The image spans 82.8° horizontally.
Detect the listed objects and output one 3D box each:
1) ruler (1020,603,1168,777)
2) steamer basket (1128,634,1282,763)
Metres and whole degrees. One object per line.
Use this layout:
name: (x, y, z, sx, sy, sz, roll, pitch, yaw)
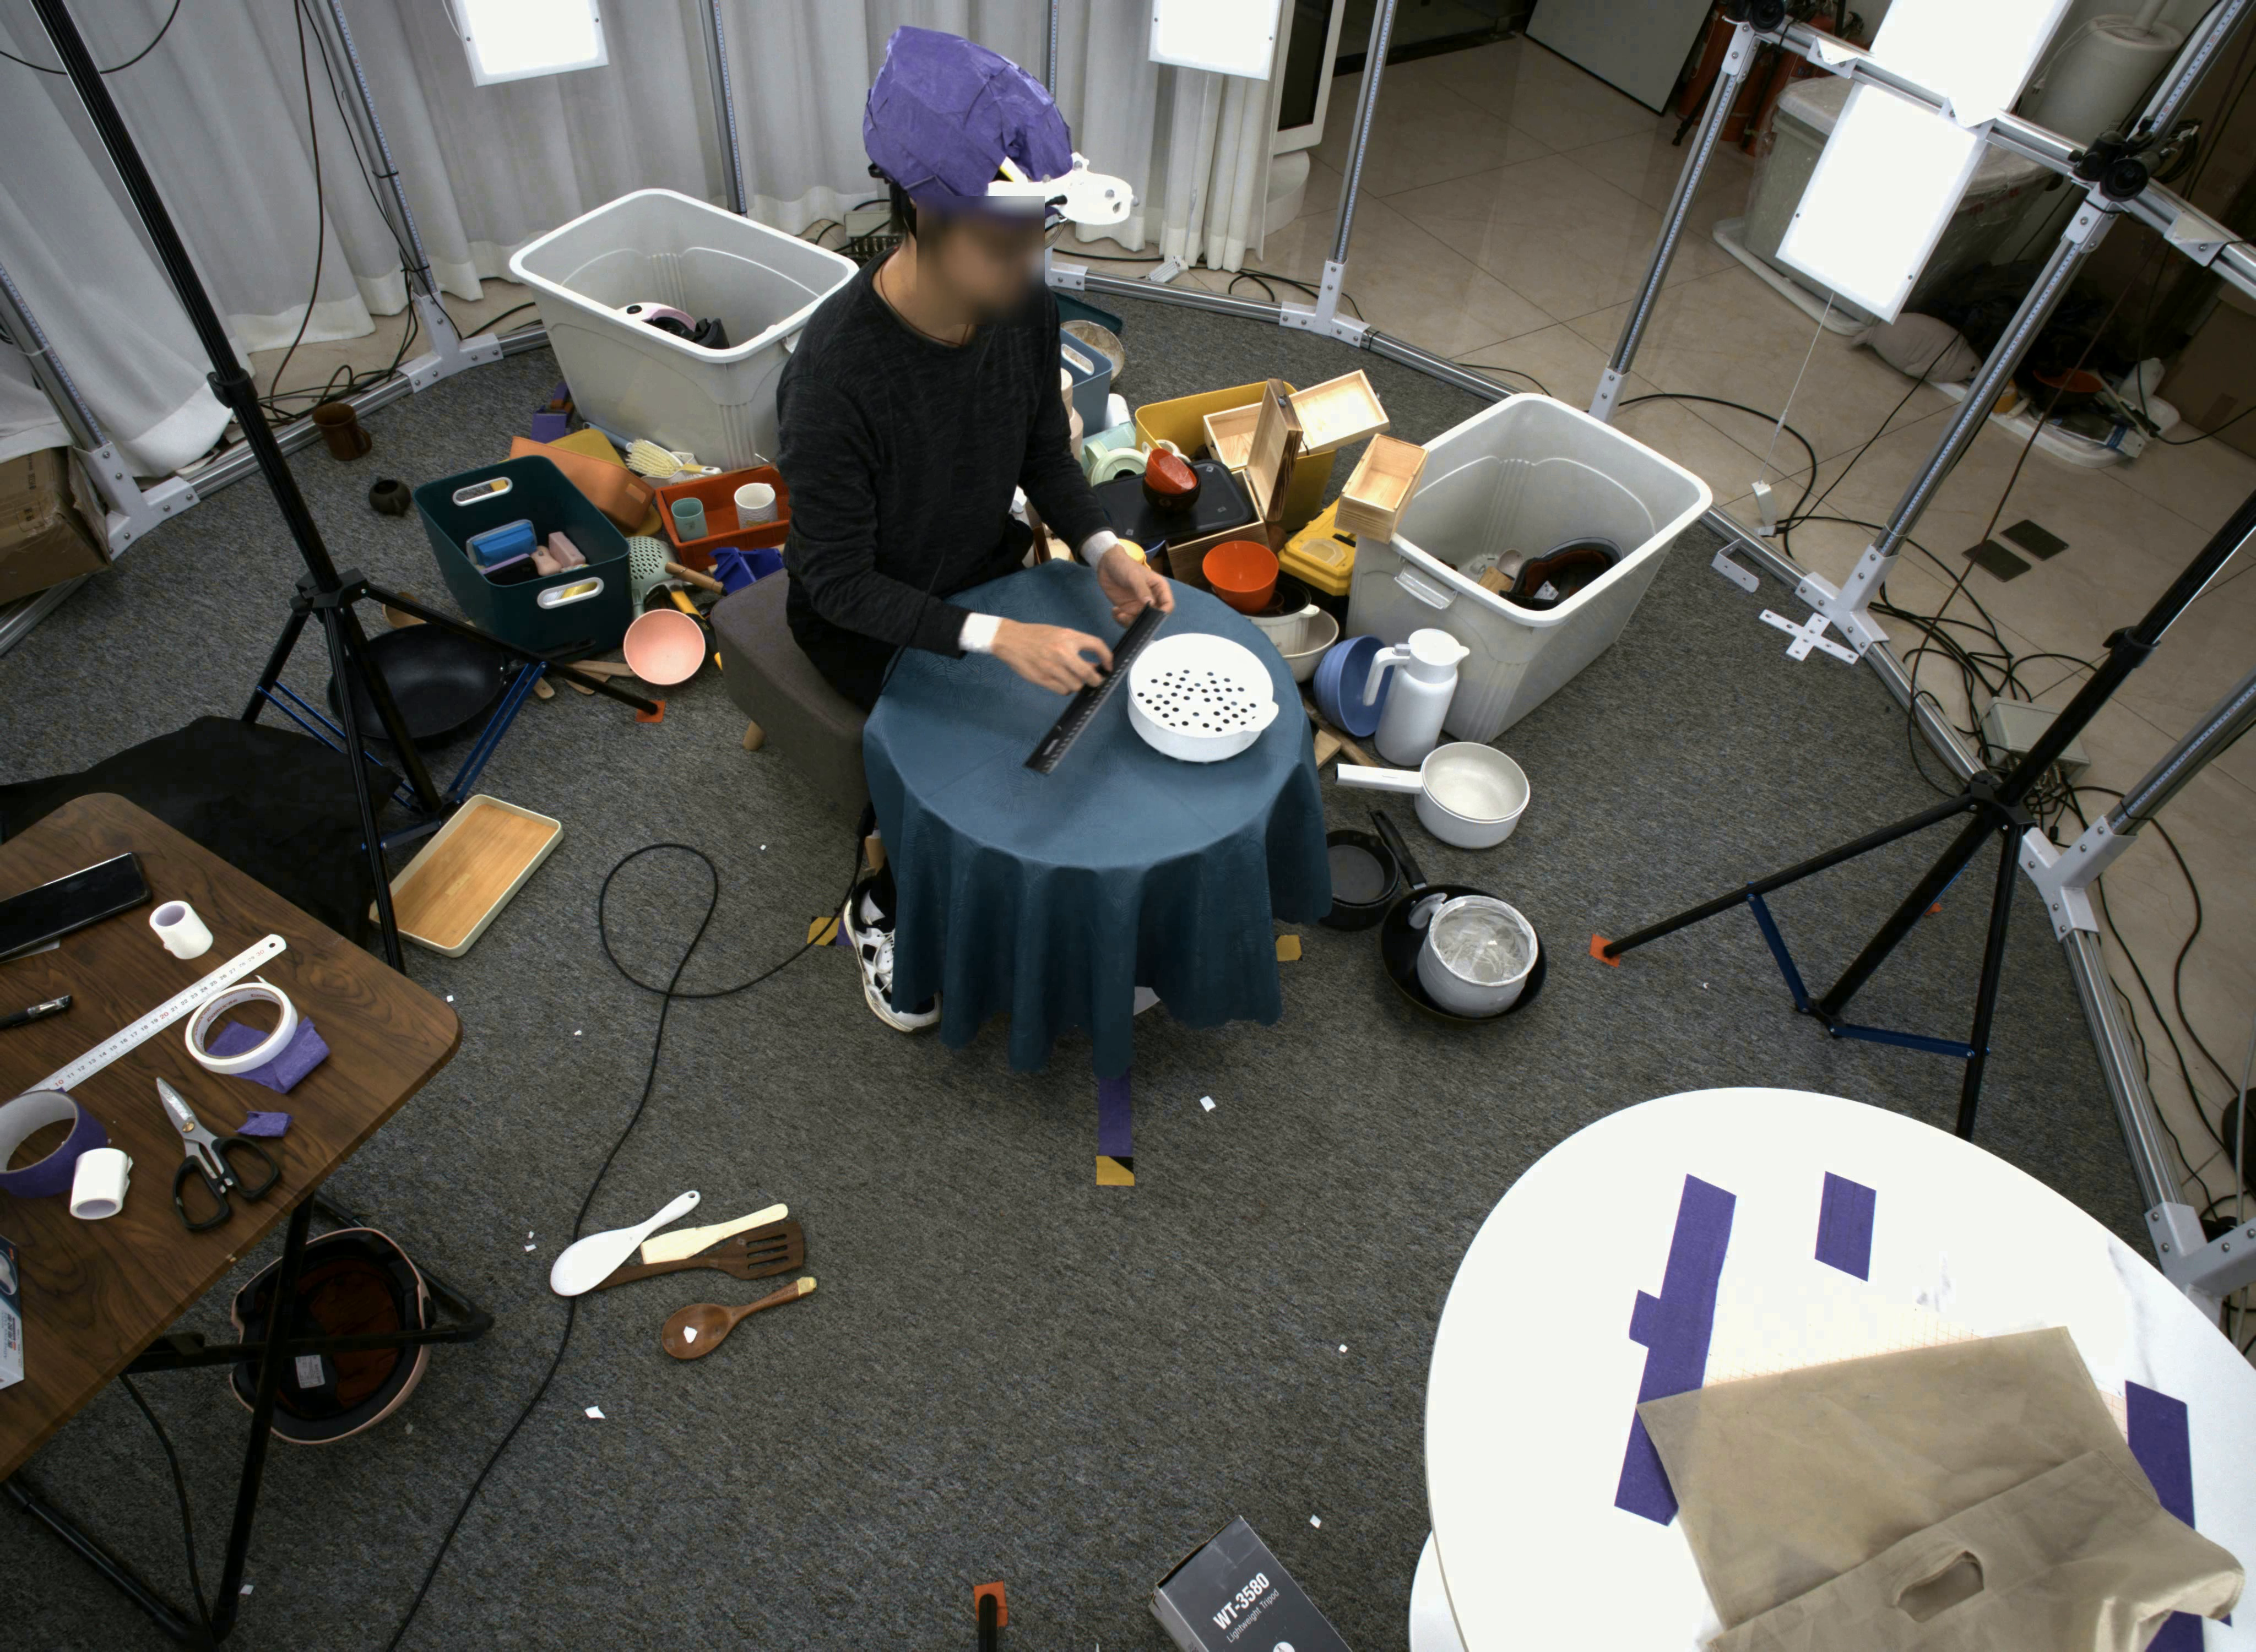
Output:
ruler: (-0.042, -0.184, 1.688, 0.039, 0.017, 0.317, 25, 61, 21)
steamer basket: (0.102, -0.176, 1.785, 0.233, 0.067, 0.205, 30, 54, 18)
